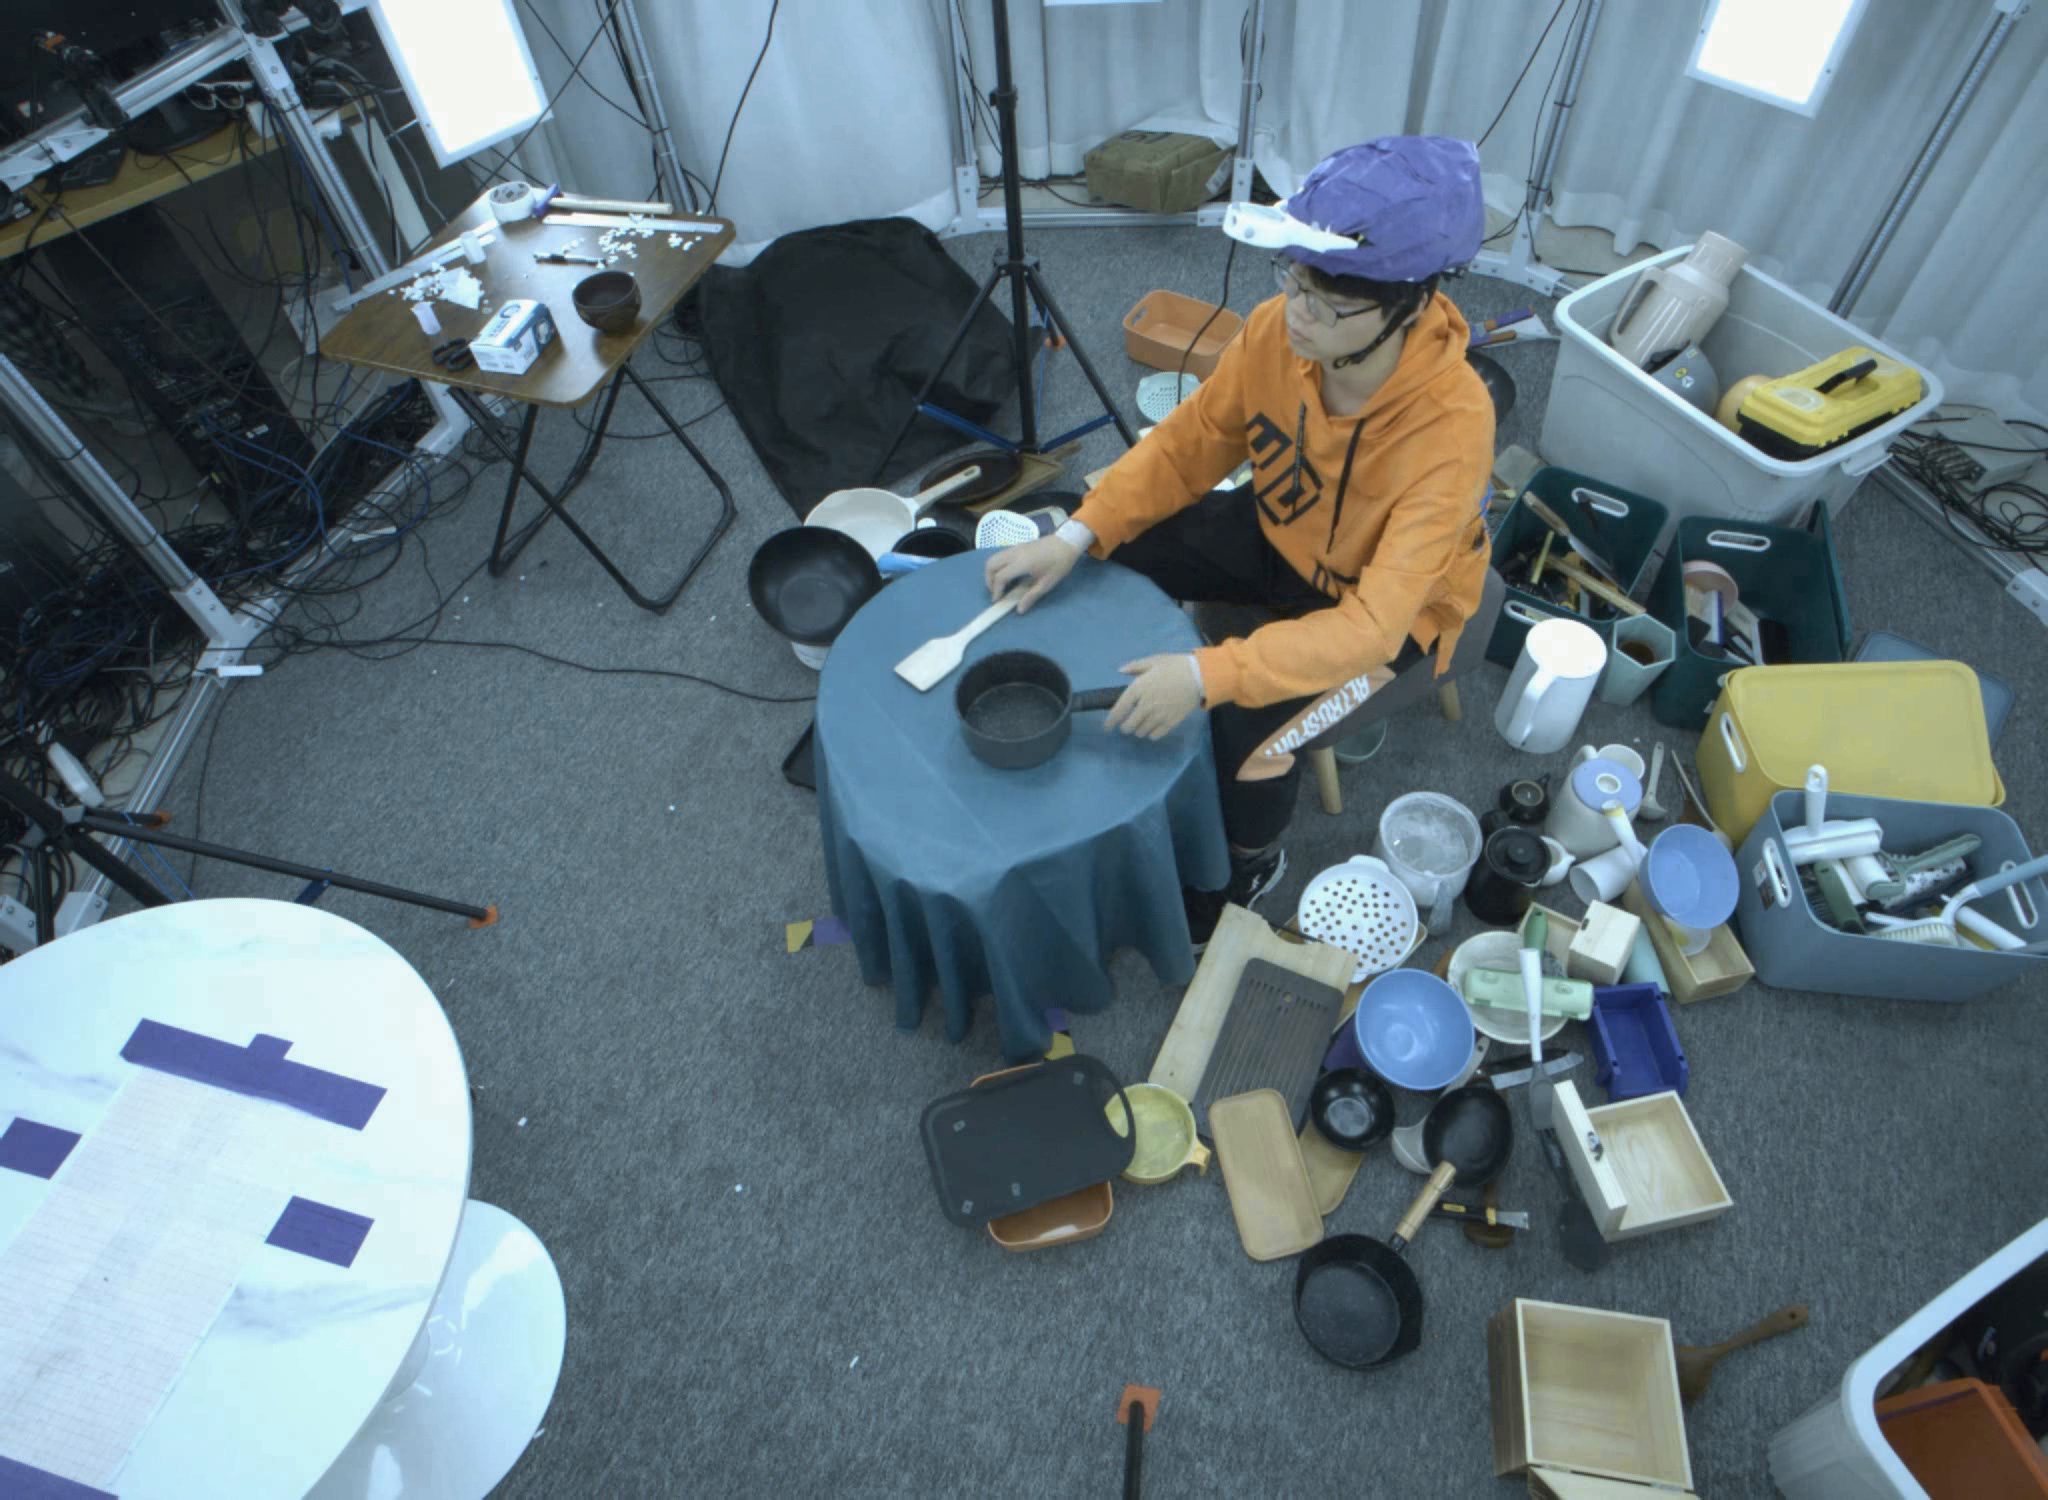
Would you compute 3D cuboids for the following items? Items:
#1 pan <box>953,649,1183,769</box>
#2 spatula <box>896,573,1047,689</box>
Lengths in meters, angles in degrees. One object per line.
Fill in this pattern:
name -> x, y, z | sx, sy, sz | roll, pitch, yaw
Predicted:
pan -> 0.065, -0.060, 1.775 | 0.328, 0.087, 0.170 | 0, 56, 4
spatula -> -0.073, -0.194, 1.921 | 0.071, 0.011, 0.295 | 37, 64, 28
